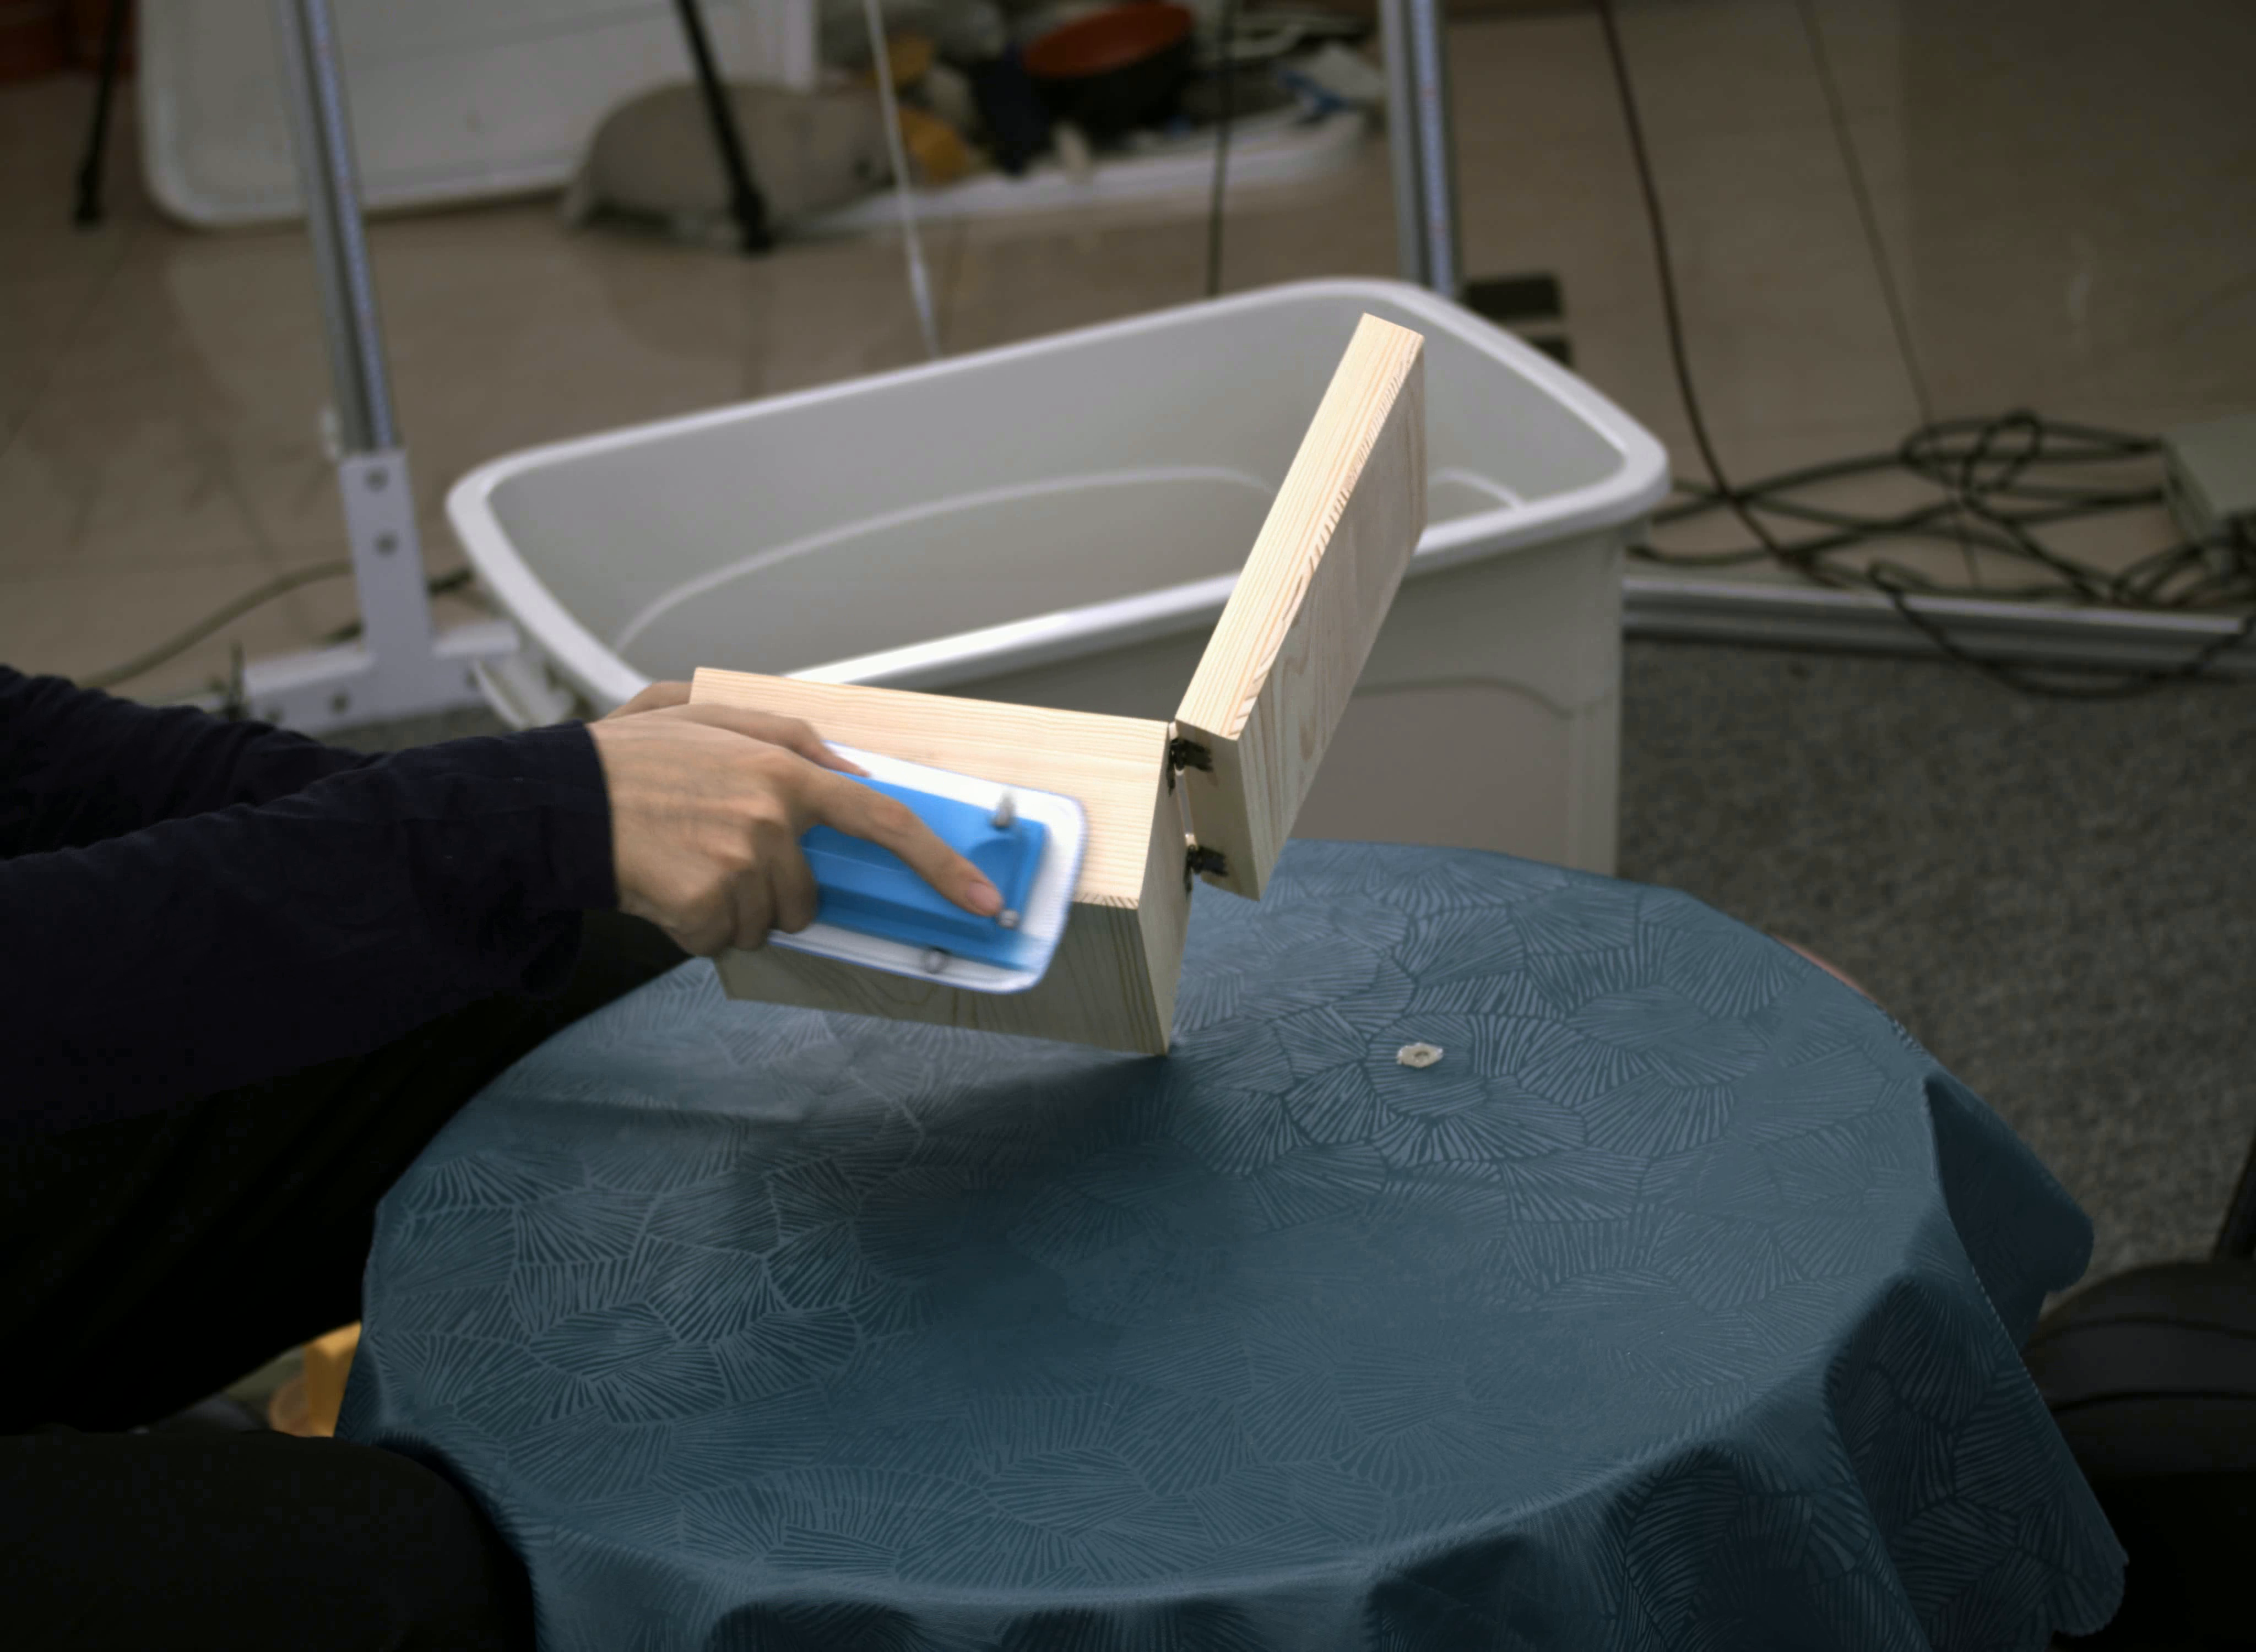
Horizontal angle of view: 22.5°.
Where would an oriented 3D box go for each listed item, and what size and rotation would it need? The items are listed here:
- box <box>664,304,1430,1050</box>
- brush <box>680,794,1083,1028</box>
[{"bbox_3d":[-0.029,-0.065,2.205,0.264,0.184,0.251,7,72,5],"label":"box"},{"bbox_3d":[-0.090,0.026,2.061,0.143,0.057,0.083,7,64,3],"label":"brush"}]
